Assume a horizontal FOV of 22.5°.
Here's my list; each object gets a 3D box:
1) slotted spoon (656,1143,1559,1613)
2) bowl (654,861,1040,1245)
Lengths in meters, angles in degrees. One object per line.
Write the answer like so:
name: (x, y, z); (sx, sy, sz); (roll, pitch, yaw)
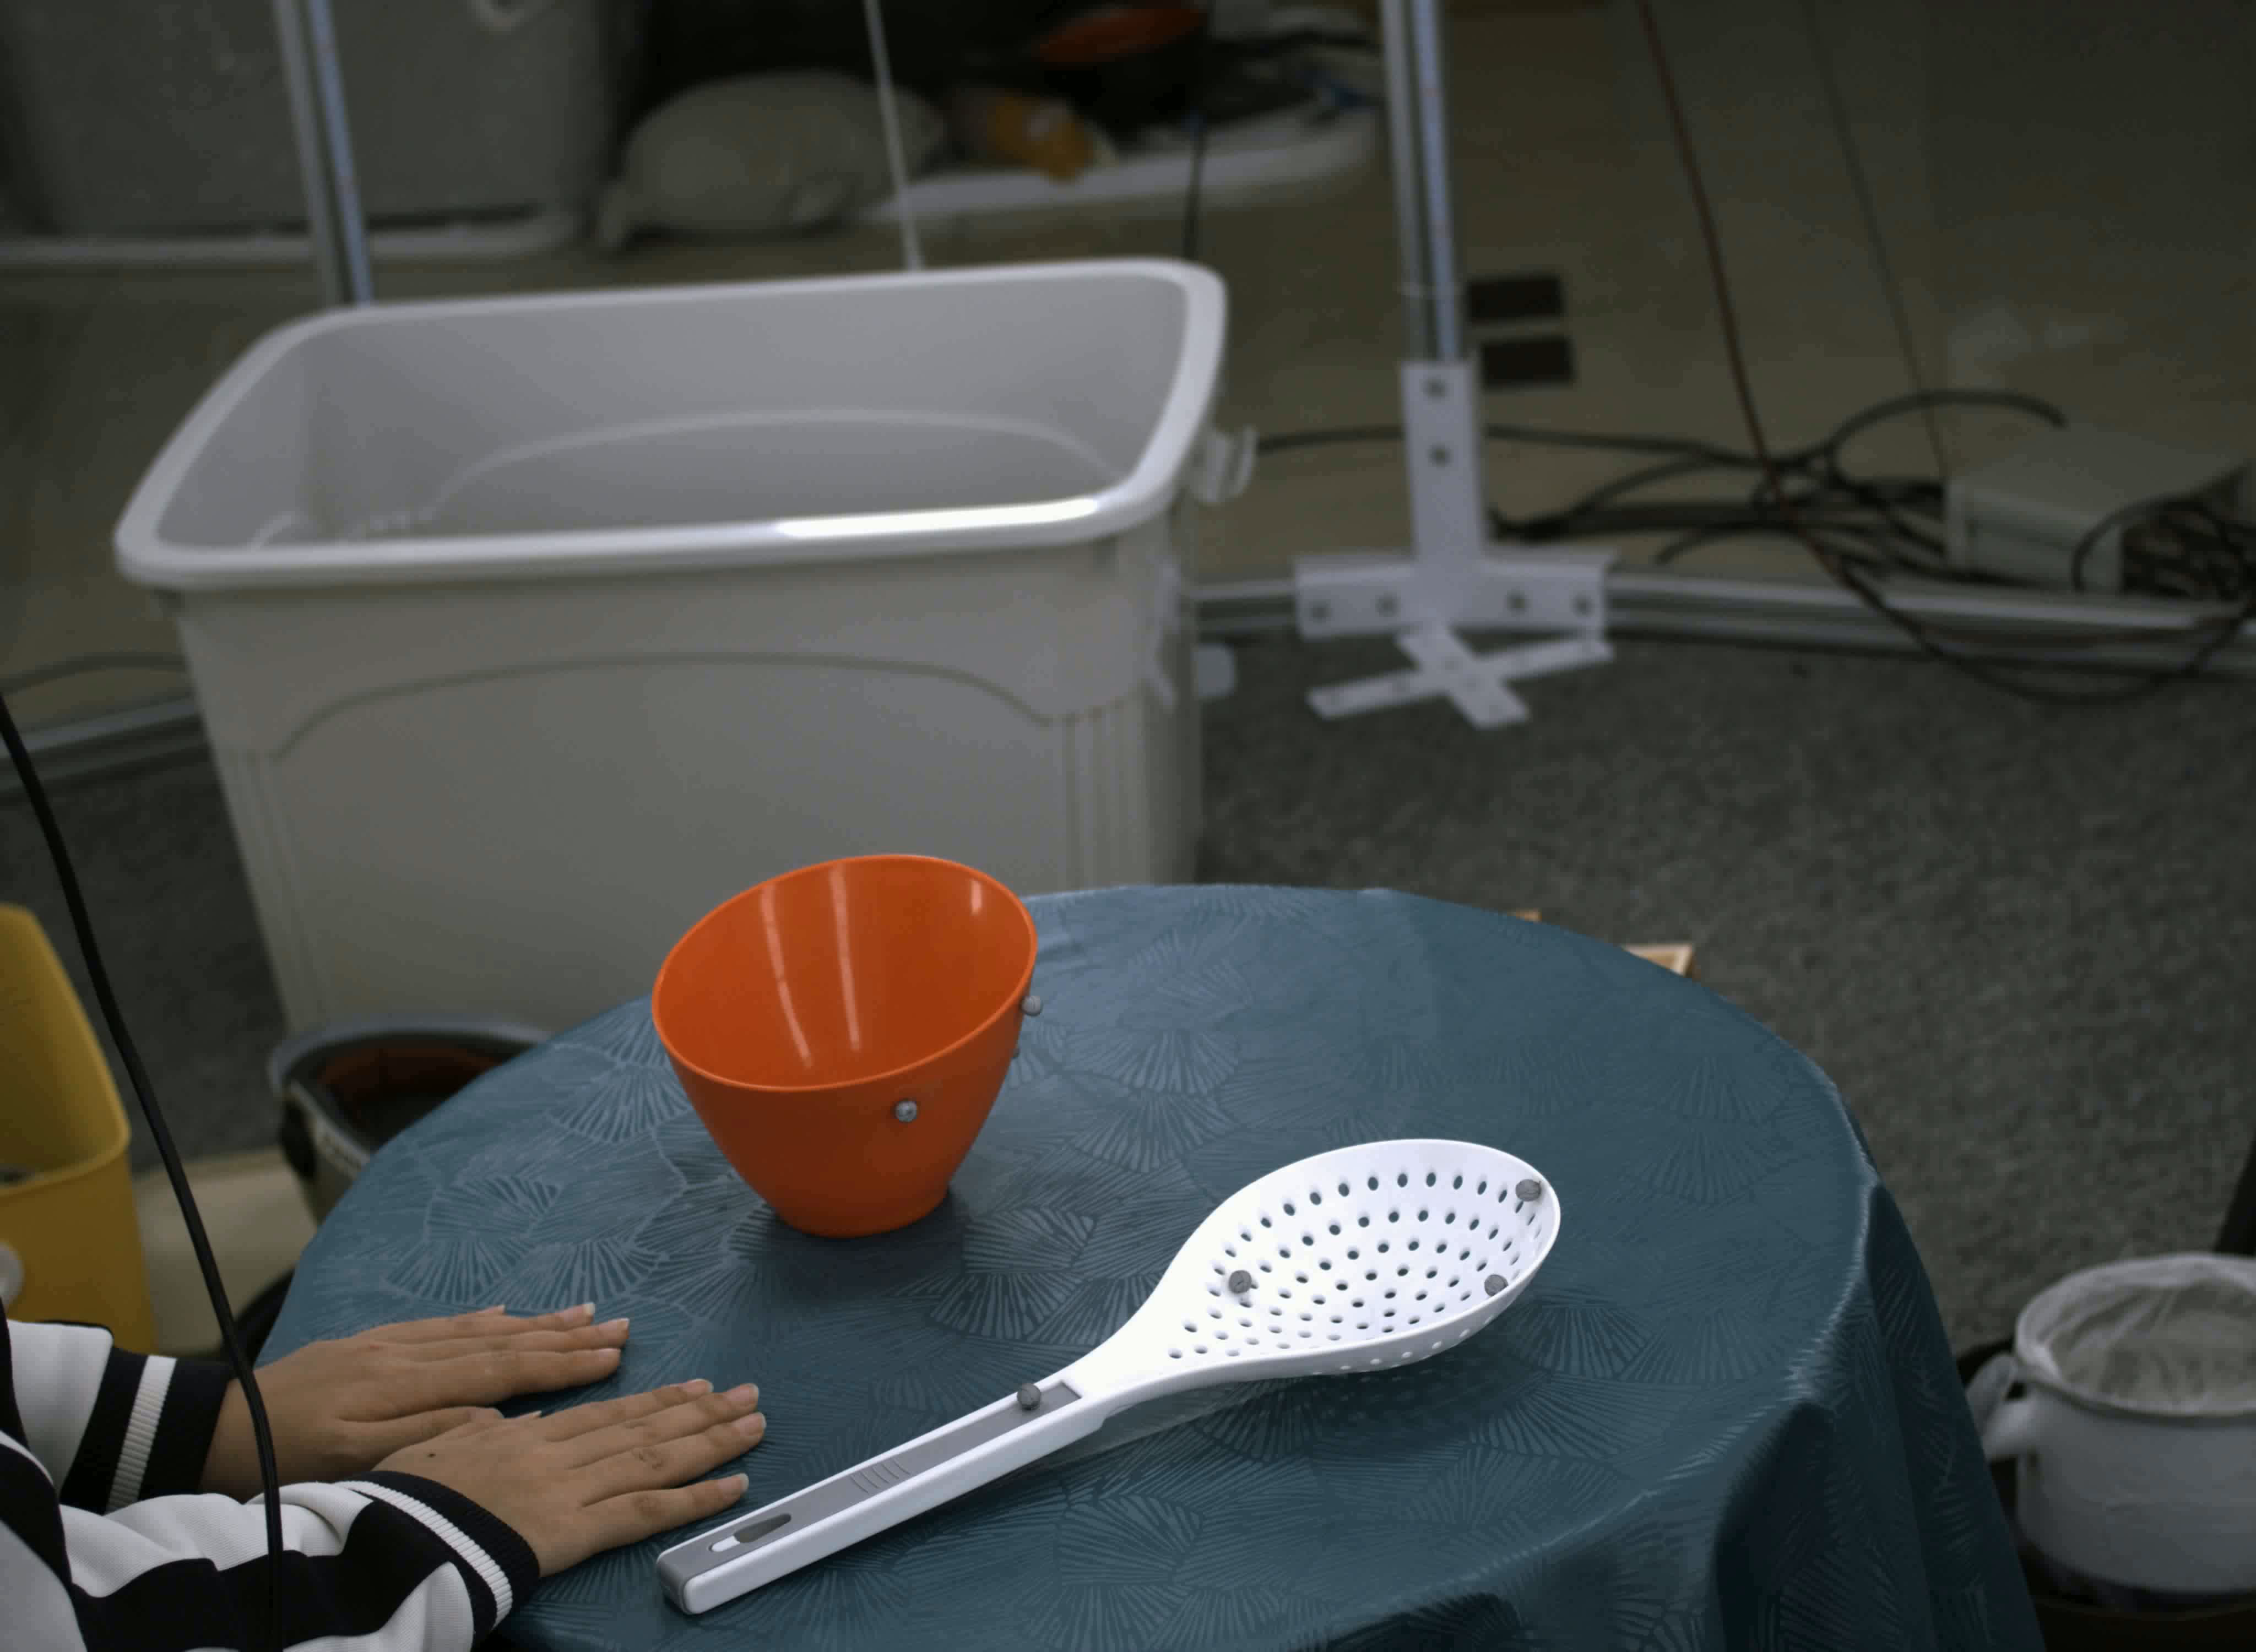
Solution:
slotted spoon: (-0.005, 0.194, 1.978); (0.348, 0.046, 0.134); (-19, 26, -23)
bowl: (-0.103, 0.093, 2.154); (0.148, 0.106, 0.146); (-5, 27, 2)
